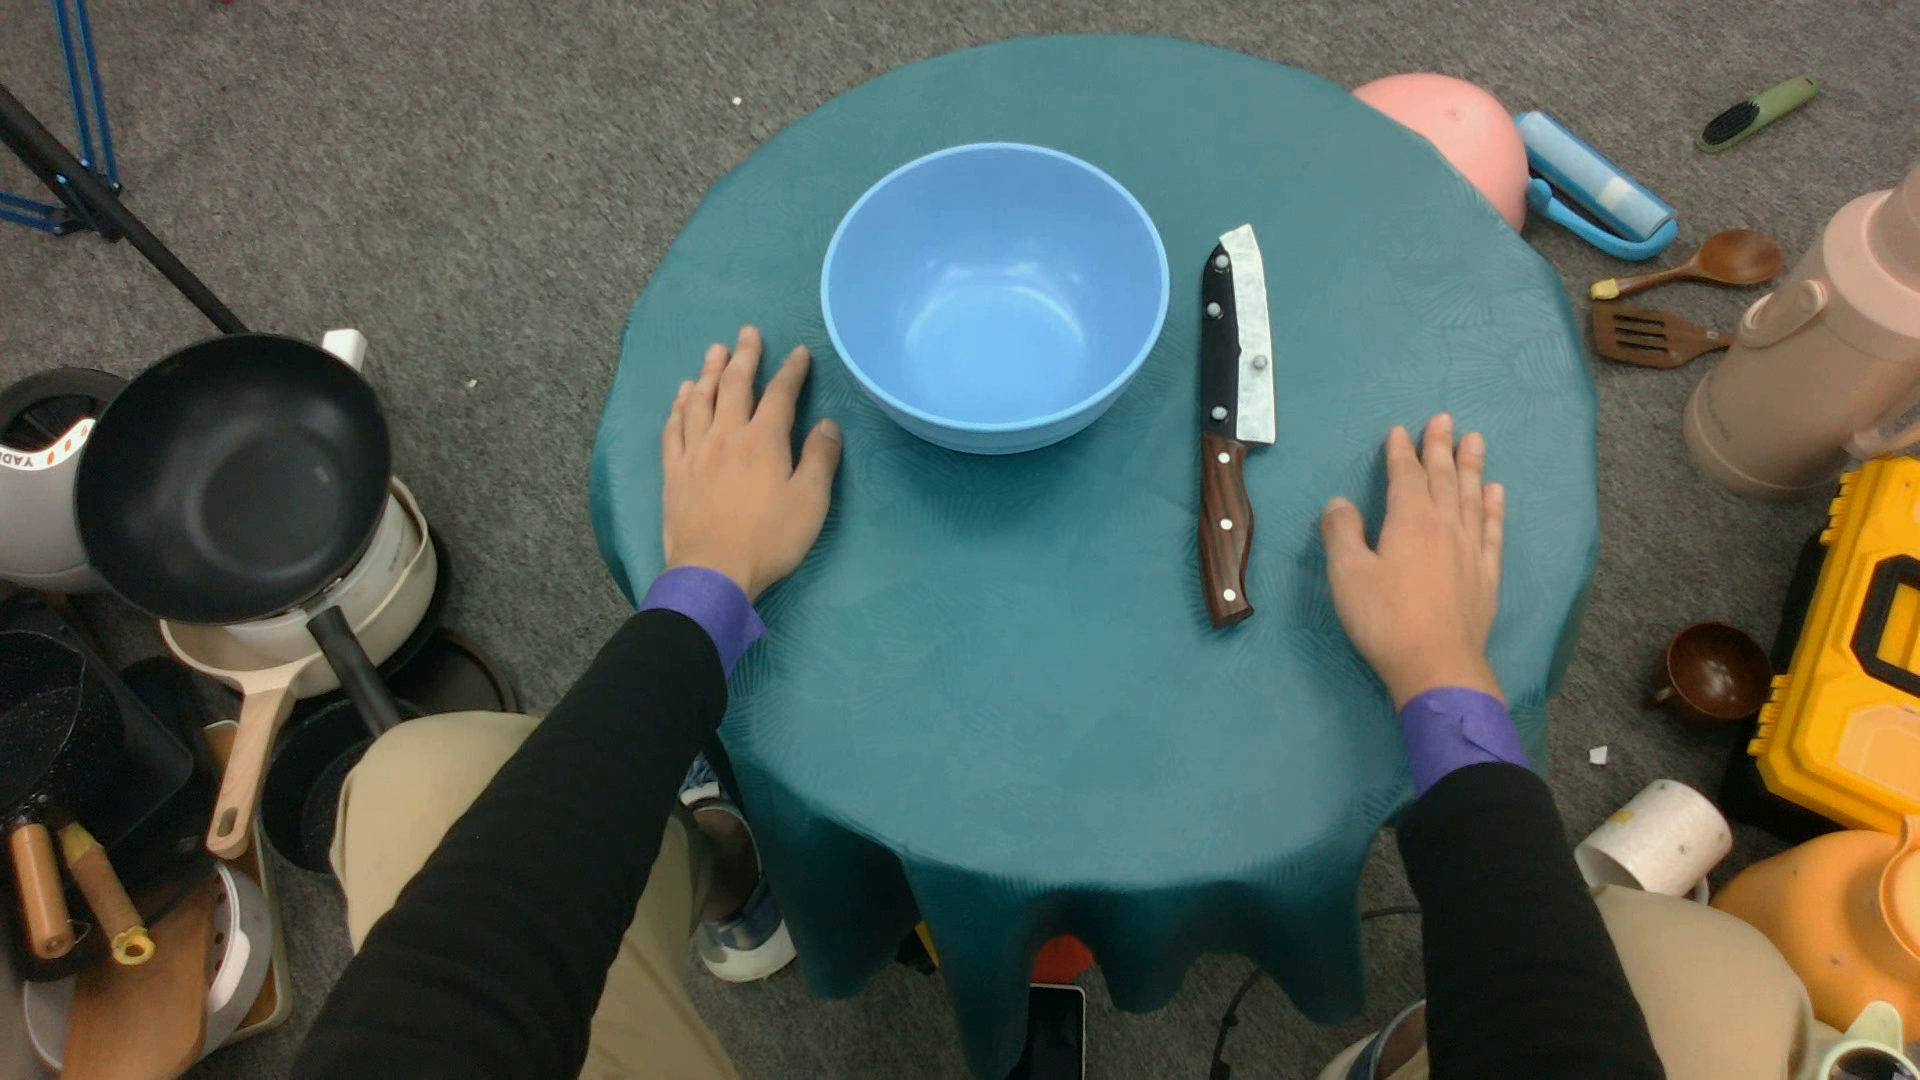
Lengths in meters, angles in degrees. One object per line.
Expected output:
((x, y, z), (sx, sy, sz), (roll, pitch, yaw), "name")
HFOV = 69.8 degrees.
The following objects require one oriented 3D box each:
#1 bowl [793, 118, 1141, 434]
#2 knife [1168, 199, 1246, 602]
((0.005, -0.141, 0.815), (0.196, 0.095, 0.197), (0, 67, 1), "bowl")
((0.148, -0.095, 0.831), (0.050, 0.020, 0.290), (7, 63, -1), "knife")
